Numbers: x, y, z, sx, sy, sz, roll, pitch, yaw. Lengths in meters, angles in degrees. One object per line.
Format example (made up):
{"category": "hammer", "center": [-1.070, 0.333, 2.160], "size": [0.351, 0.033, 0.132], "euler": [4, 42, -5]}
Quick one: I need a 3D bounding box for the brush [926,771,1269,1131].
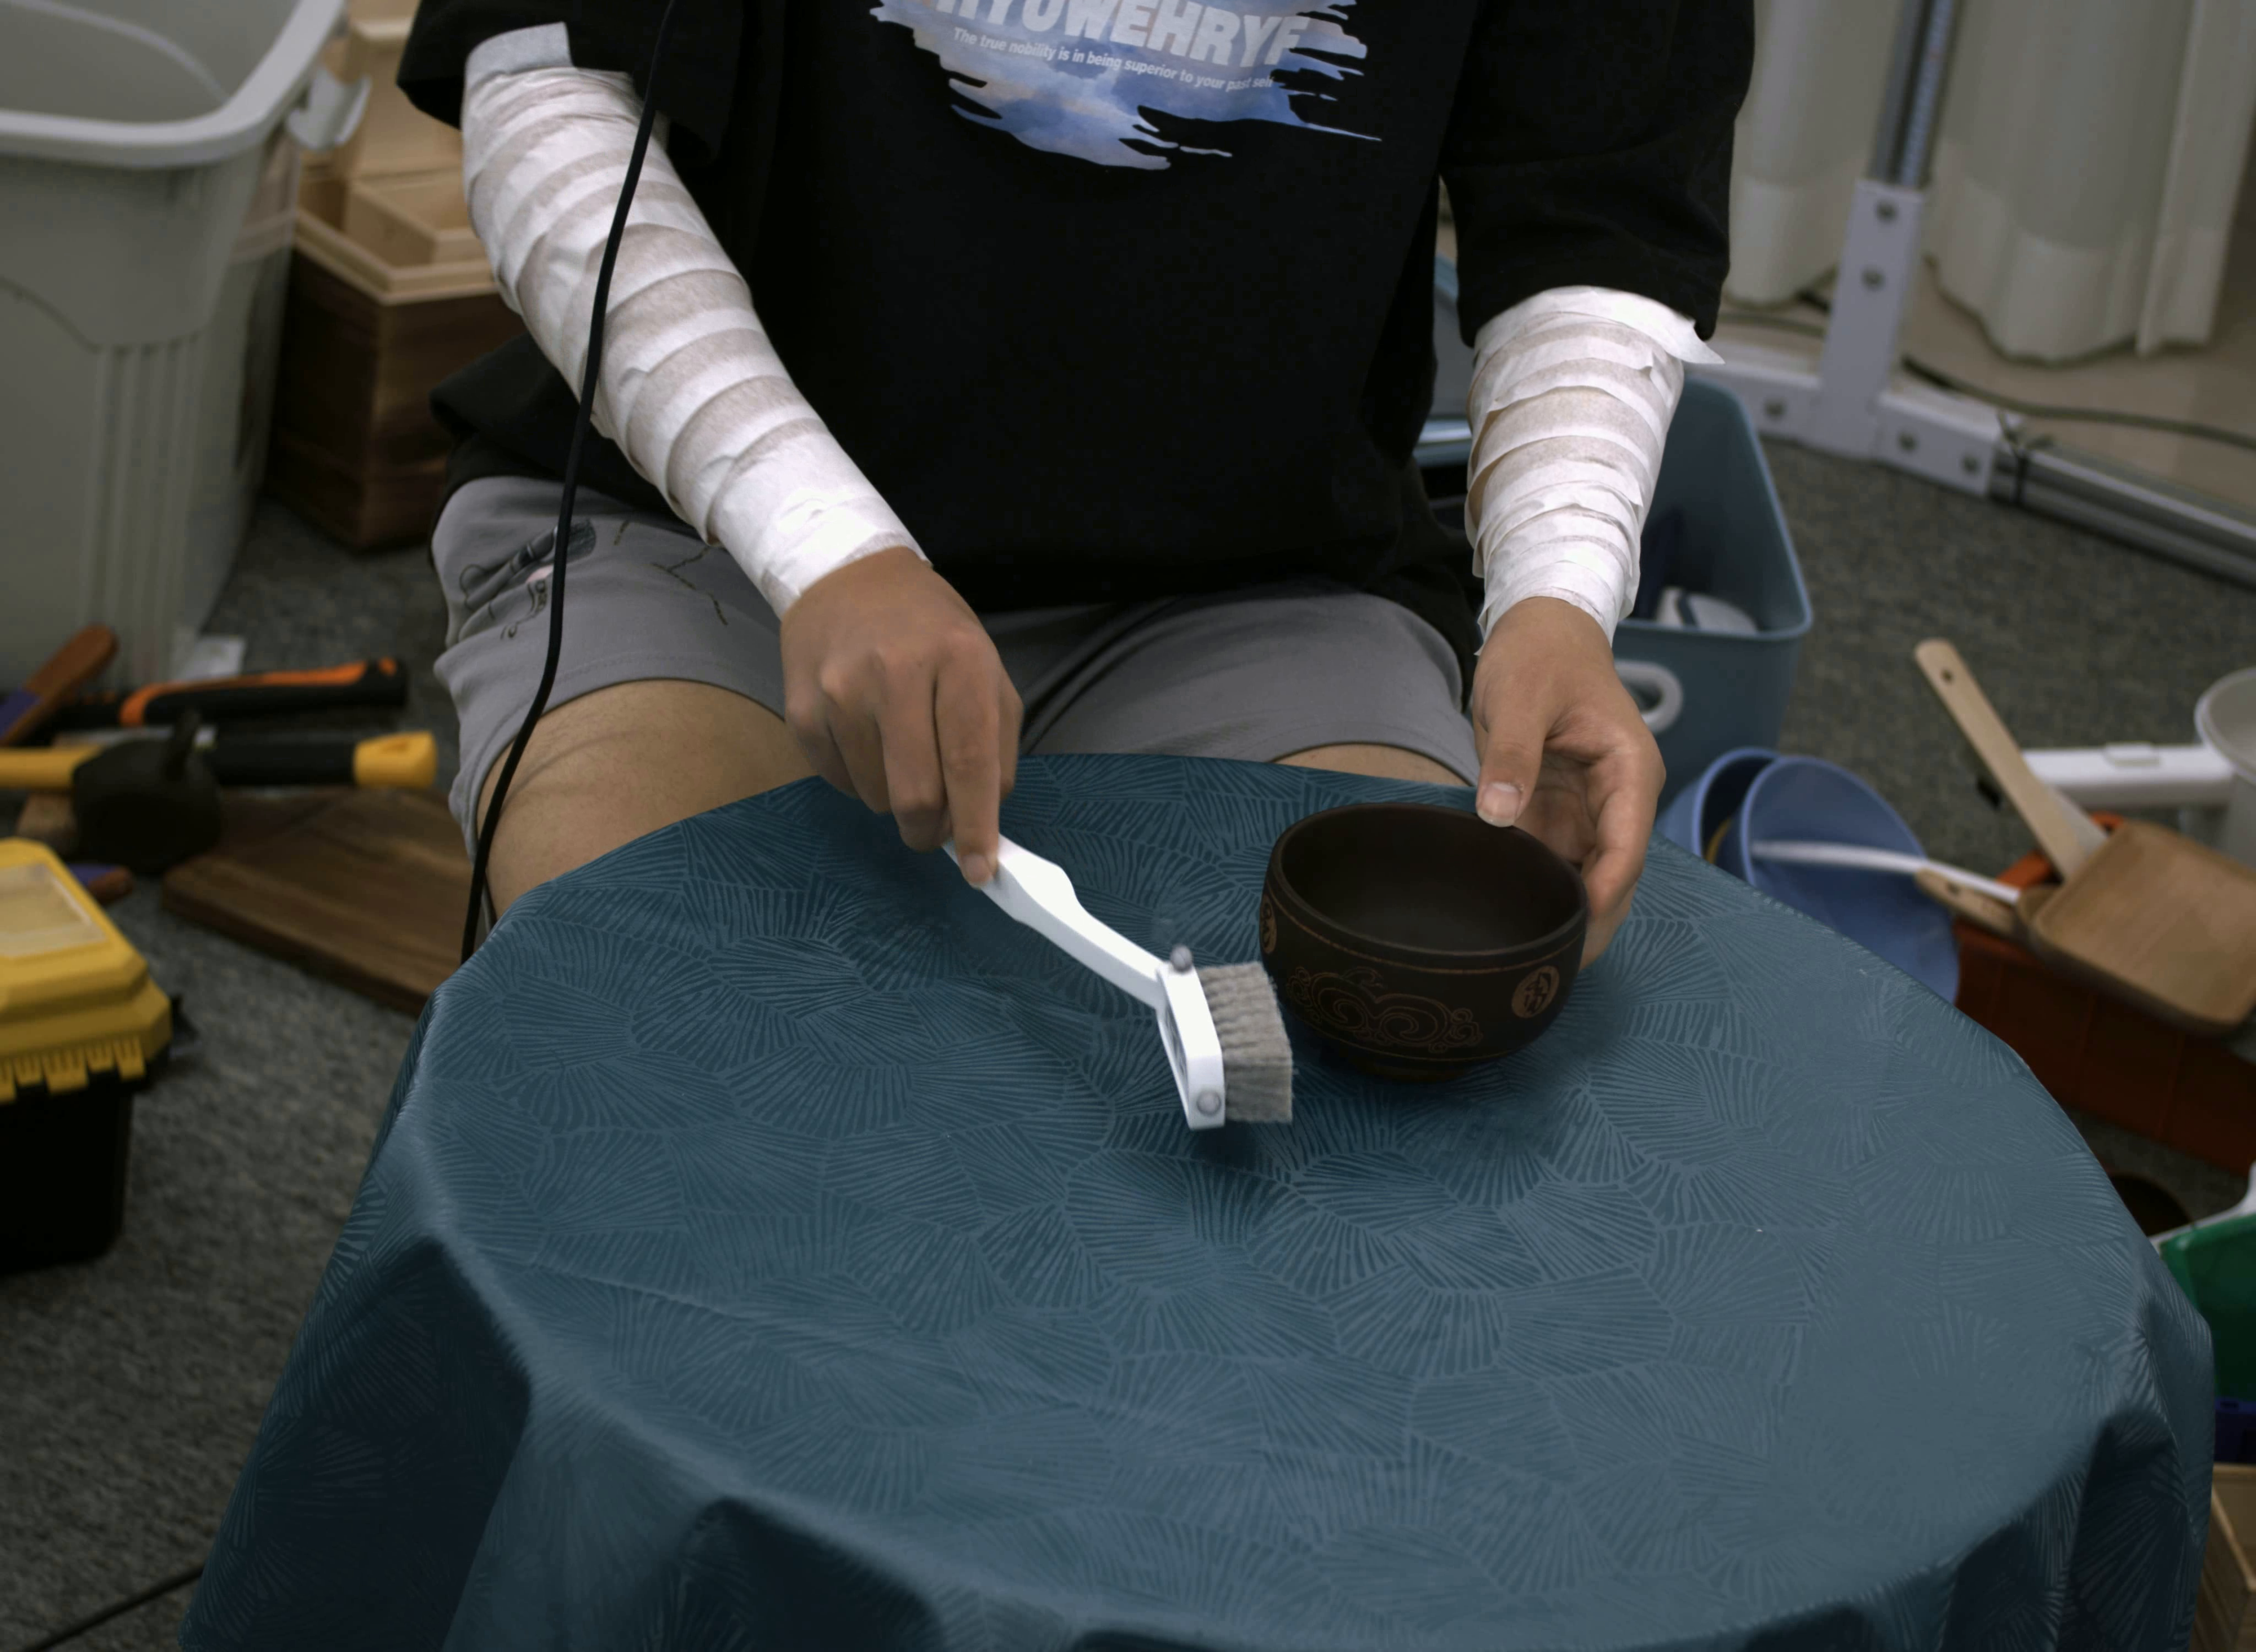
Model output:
{"category": "brush", "center": [-0.008, 0.038, 1.895], "size": [0.050, 0.034, 0.246], "euler": [-13, 32, -20]}

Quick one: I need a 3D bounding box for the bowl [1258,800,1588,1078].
{"category": "bowl", "center": [0.103, 0.046, 1.900], "size": [0.117, 0.069, 0.119], "euler": [4, 25, -2]}
